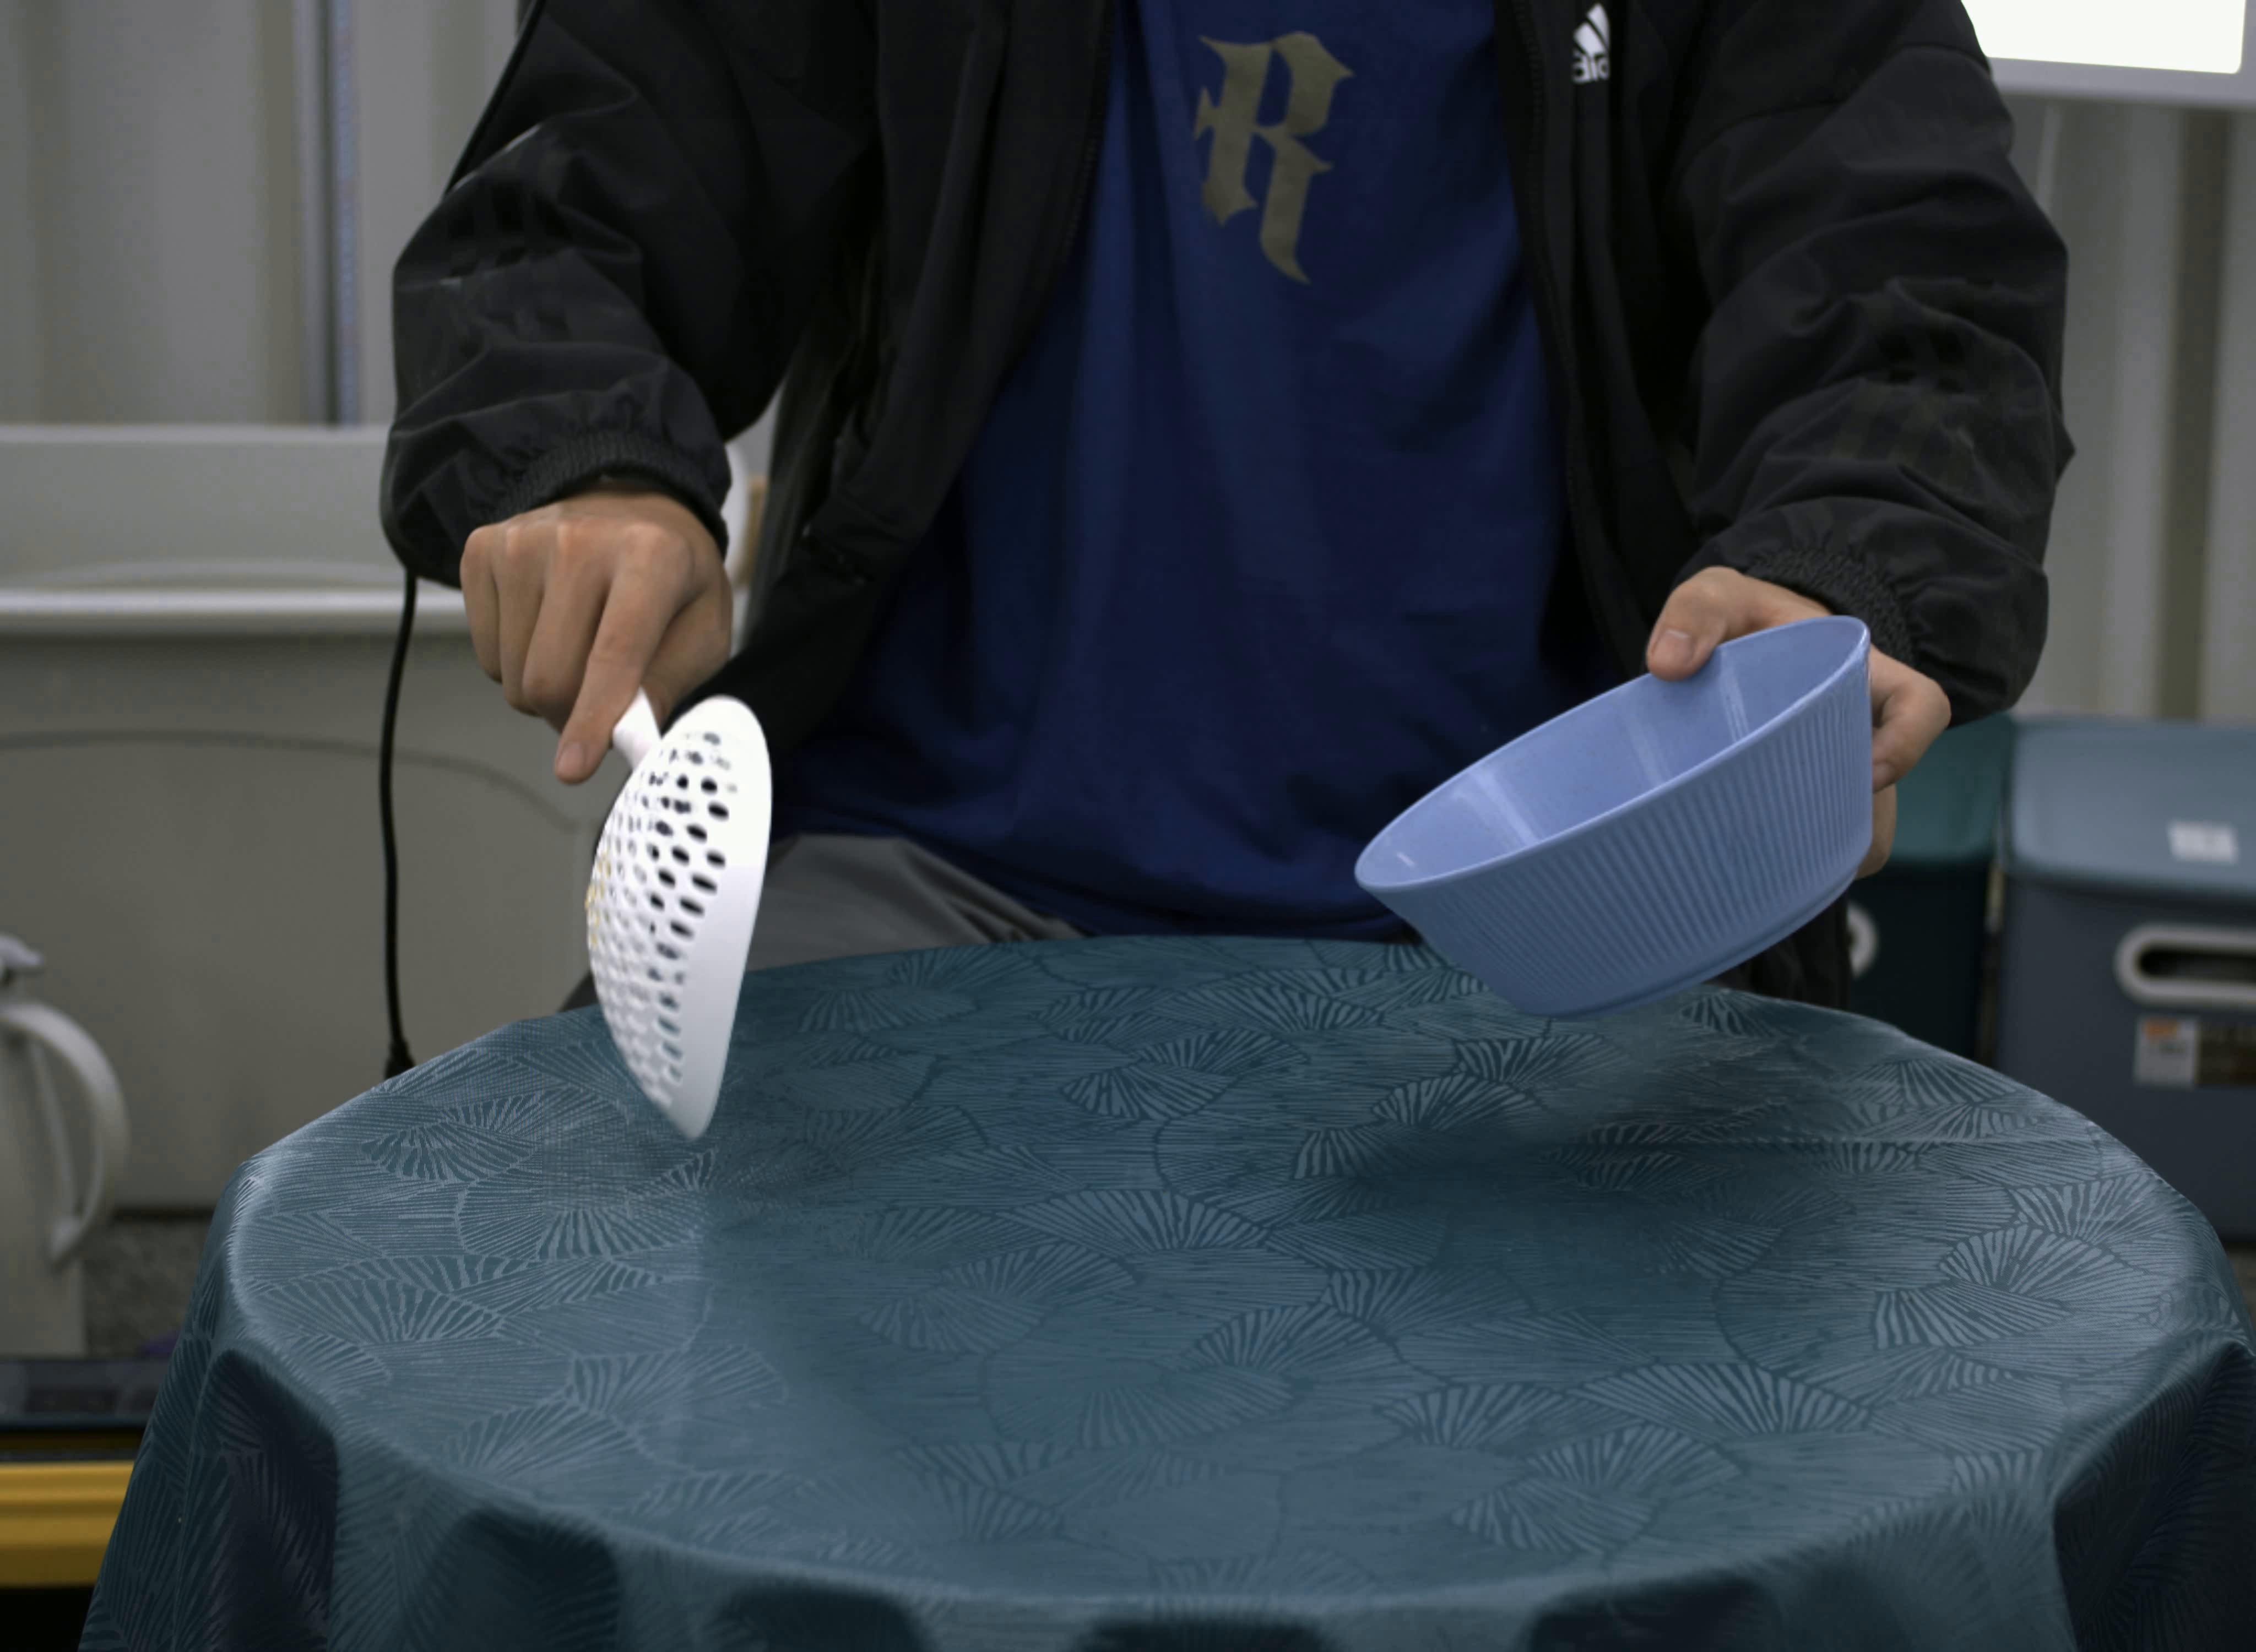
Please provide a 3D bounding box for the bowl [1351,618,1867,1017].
[{"bbox_3d":[0.161,0.004,1.632,0.175,0.071,0.175,-26,9,5],"label":"bowl"}]

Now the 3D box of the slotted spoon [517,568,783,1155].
[{"bbox_3d":[-0.163,-0.011,1.723,0.050,0.138,0.344,5,21,-14],"label":"slotted spoon"}]
